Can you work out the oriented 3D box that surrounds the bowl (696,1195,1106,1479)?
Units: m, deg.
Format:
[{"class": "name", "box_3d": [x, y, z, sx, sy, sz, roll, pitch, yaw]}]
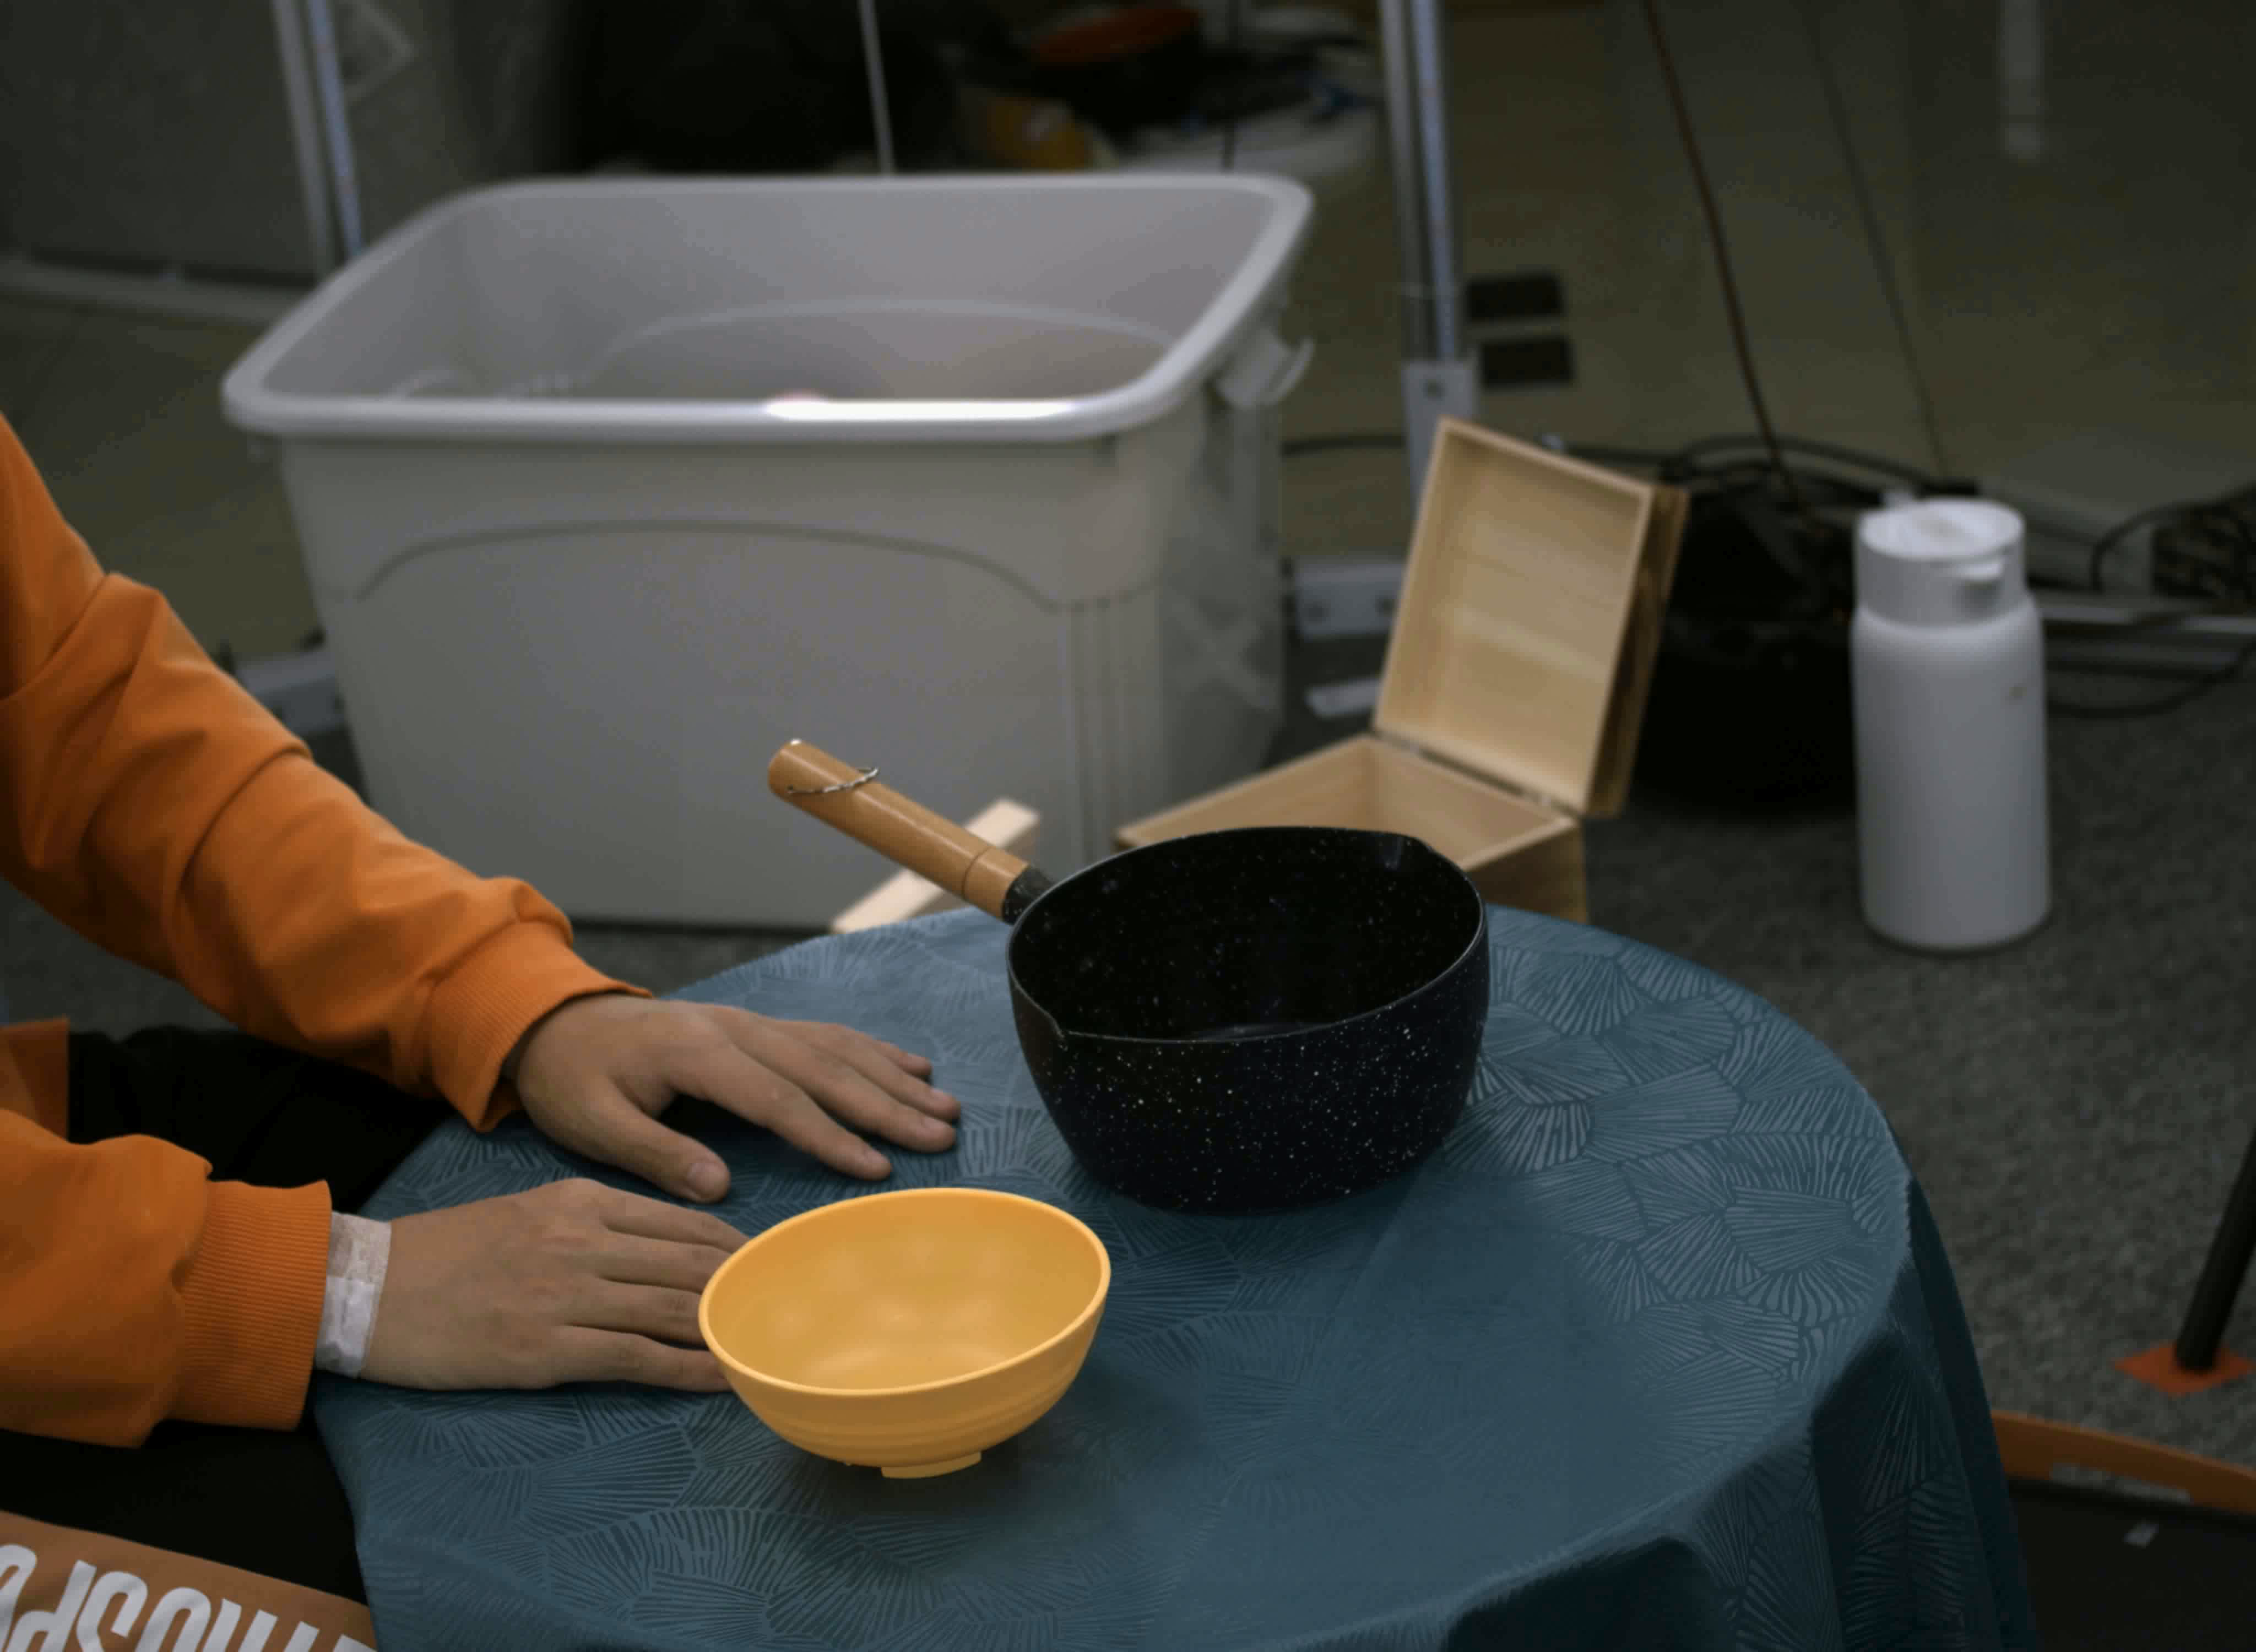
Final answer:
[{"class": "bowl", "box_3d": [-0.077, 0.187, 1.992, 0.145, 0.061, 0.143, -5, 24, 2]}]

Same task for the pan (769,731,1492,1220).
[{"class": "pan", "box_3d": [-0.012, 0.050, 2.211, 0.340, 0.110, 0.205, 17, 35, 38]}]
